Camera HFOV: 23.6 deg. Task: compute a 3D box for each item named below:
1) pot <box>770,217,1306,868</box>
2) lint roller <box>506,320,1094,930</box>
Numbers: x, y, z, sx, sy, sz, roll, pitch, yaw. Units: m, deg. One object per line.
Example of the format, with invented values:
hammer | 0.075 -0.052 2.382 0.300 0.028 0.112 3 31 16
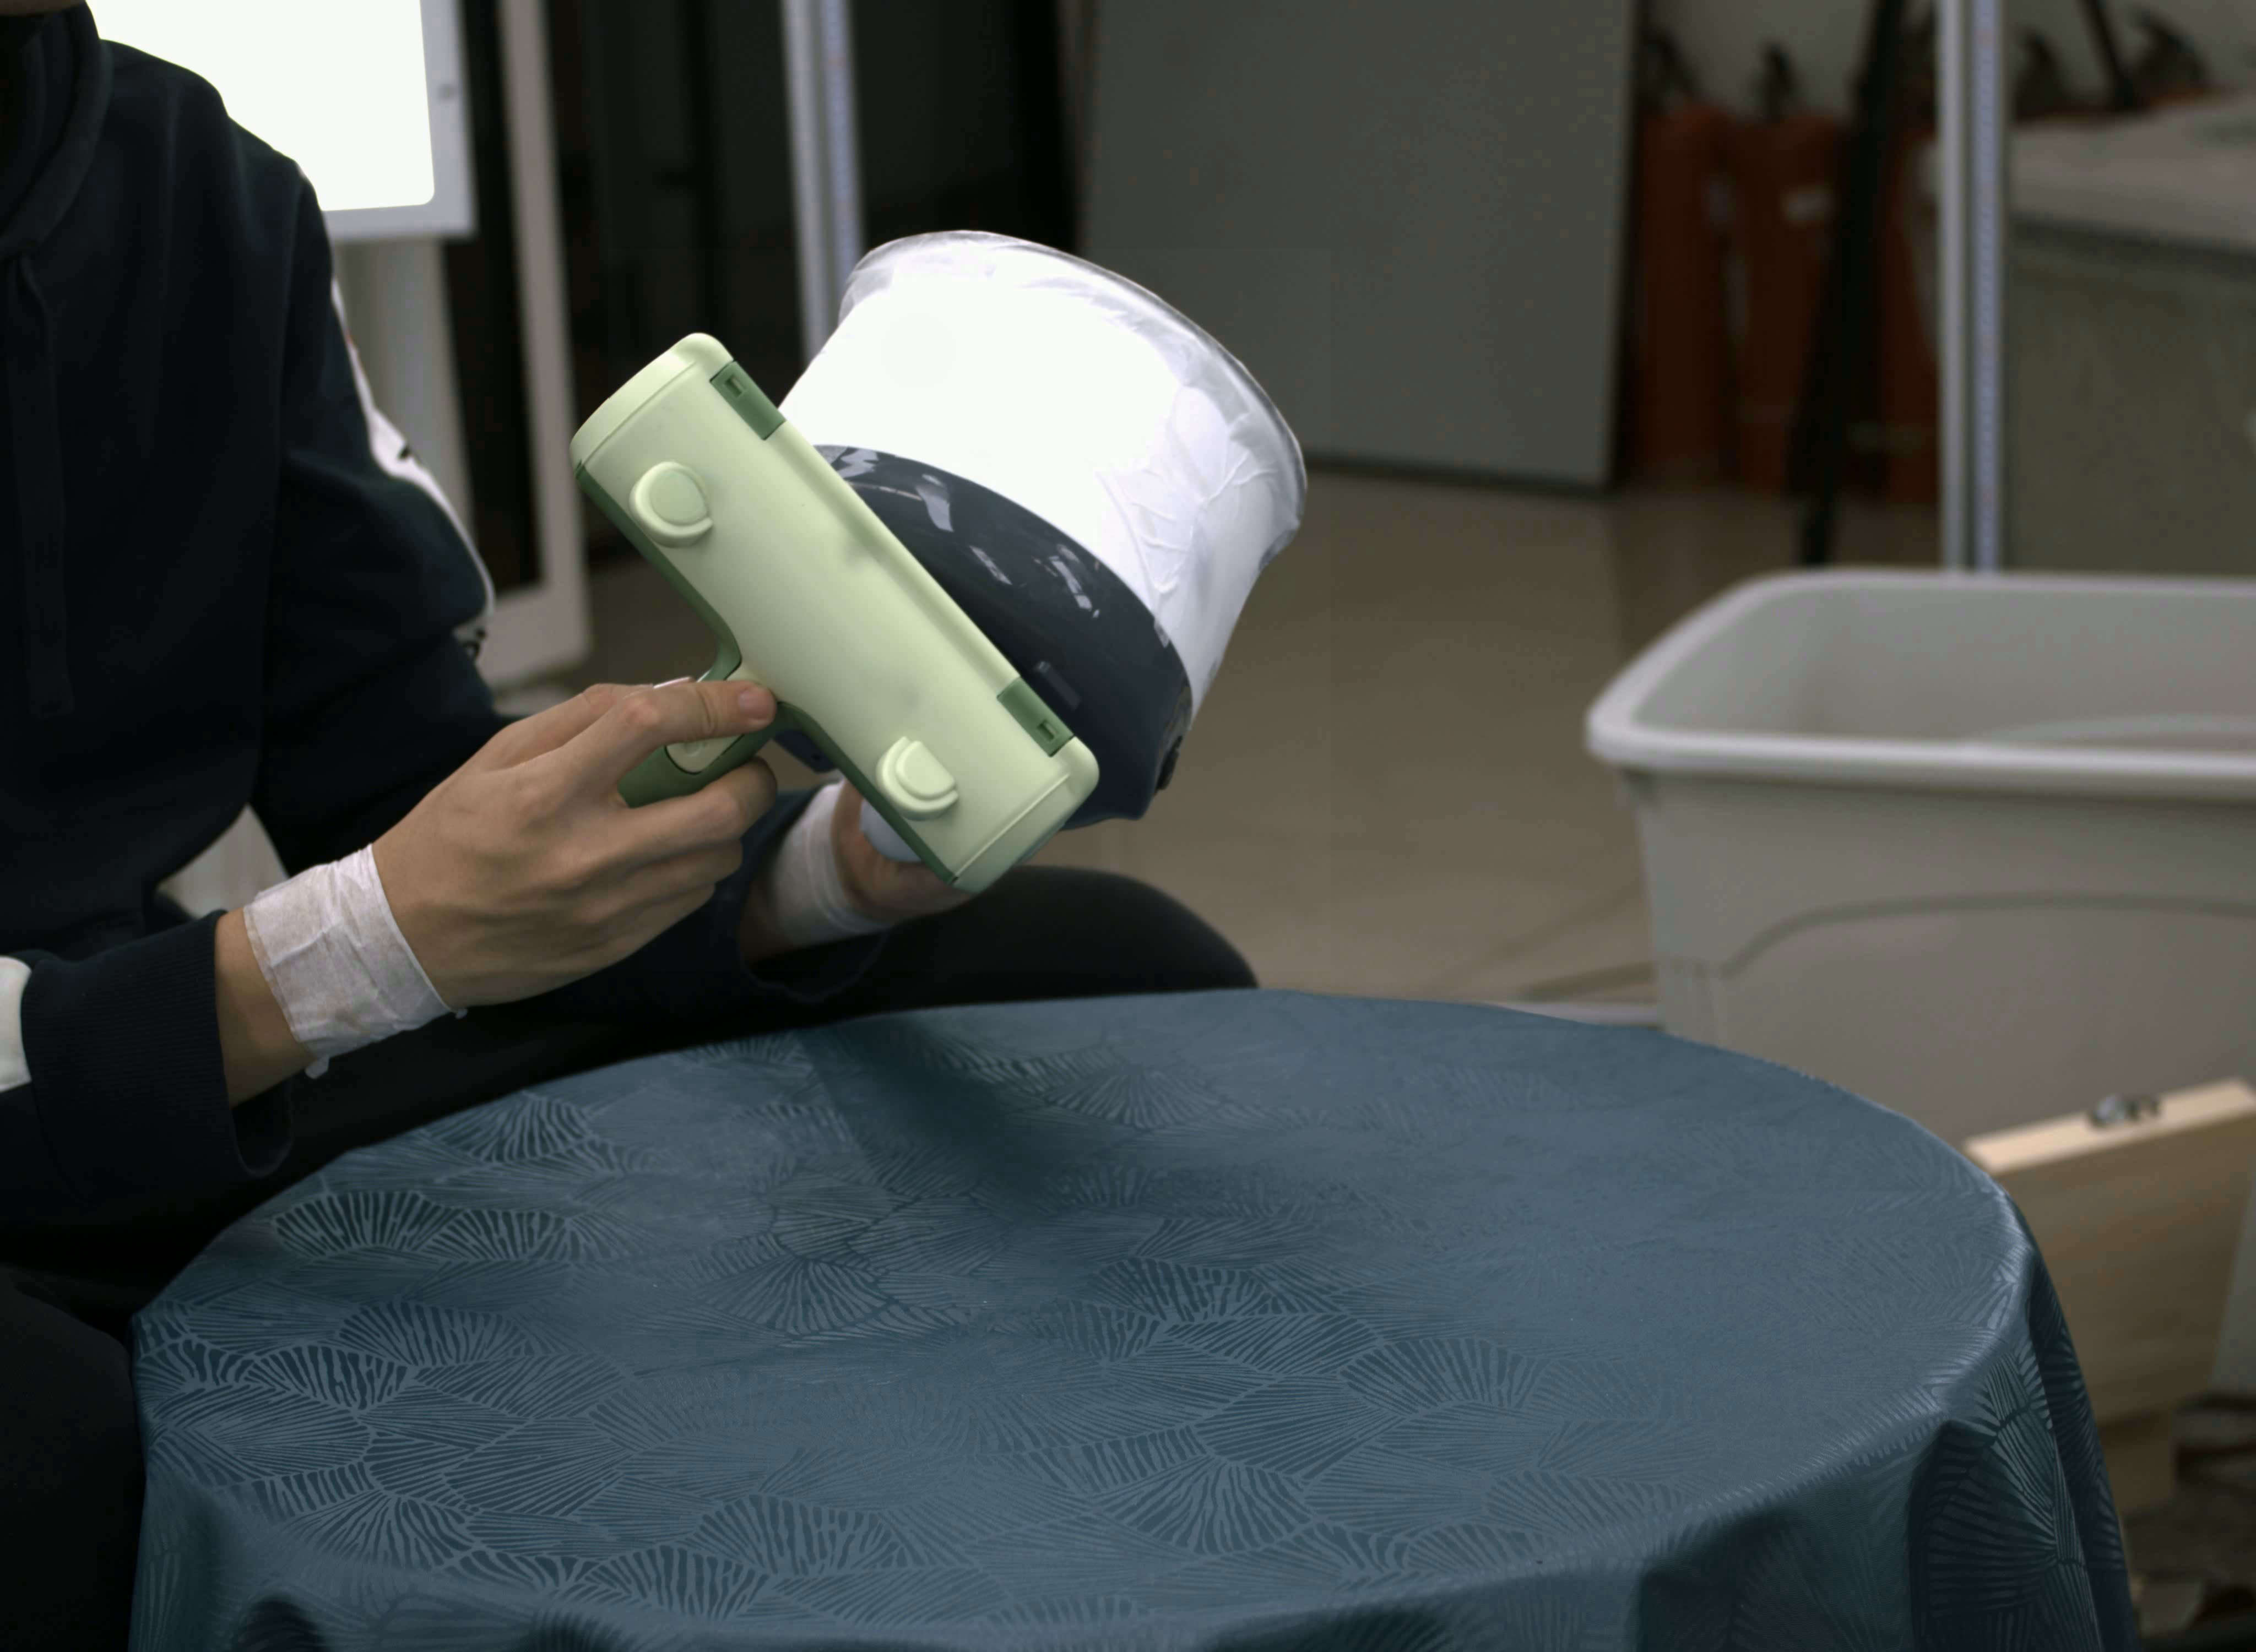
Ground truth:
pot | -0.048 -0.082 1.841 0.178 0.234 0.136 25 62 7
lint roller | -0.137 -0.029 1.715 0.184 0.199 0.082 -43 -2 10
